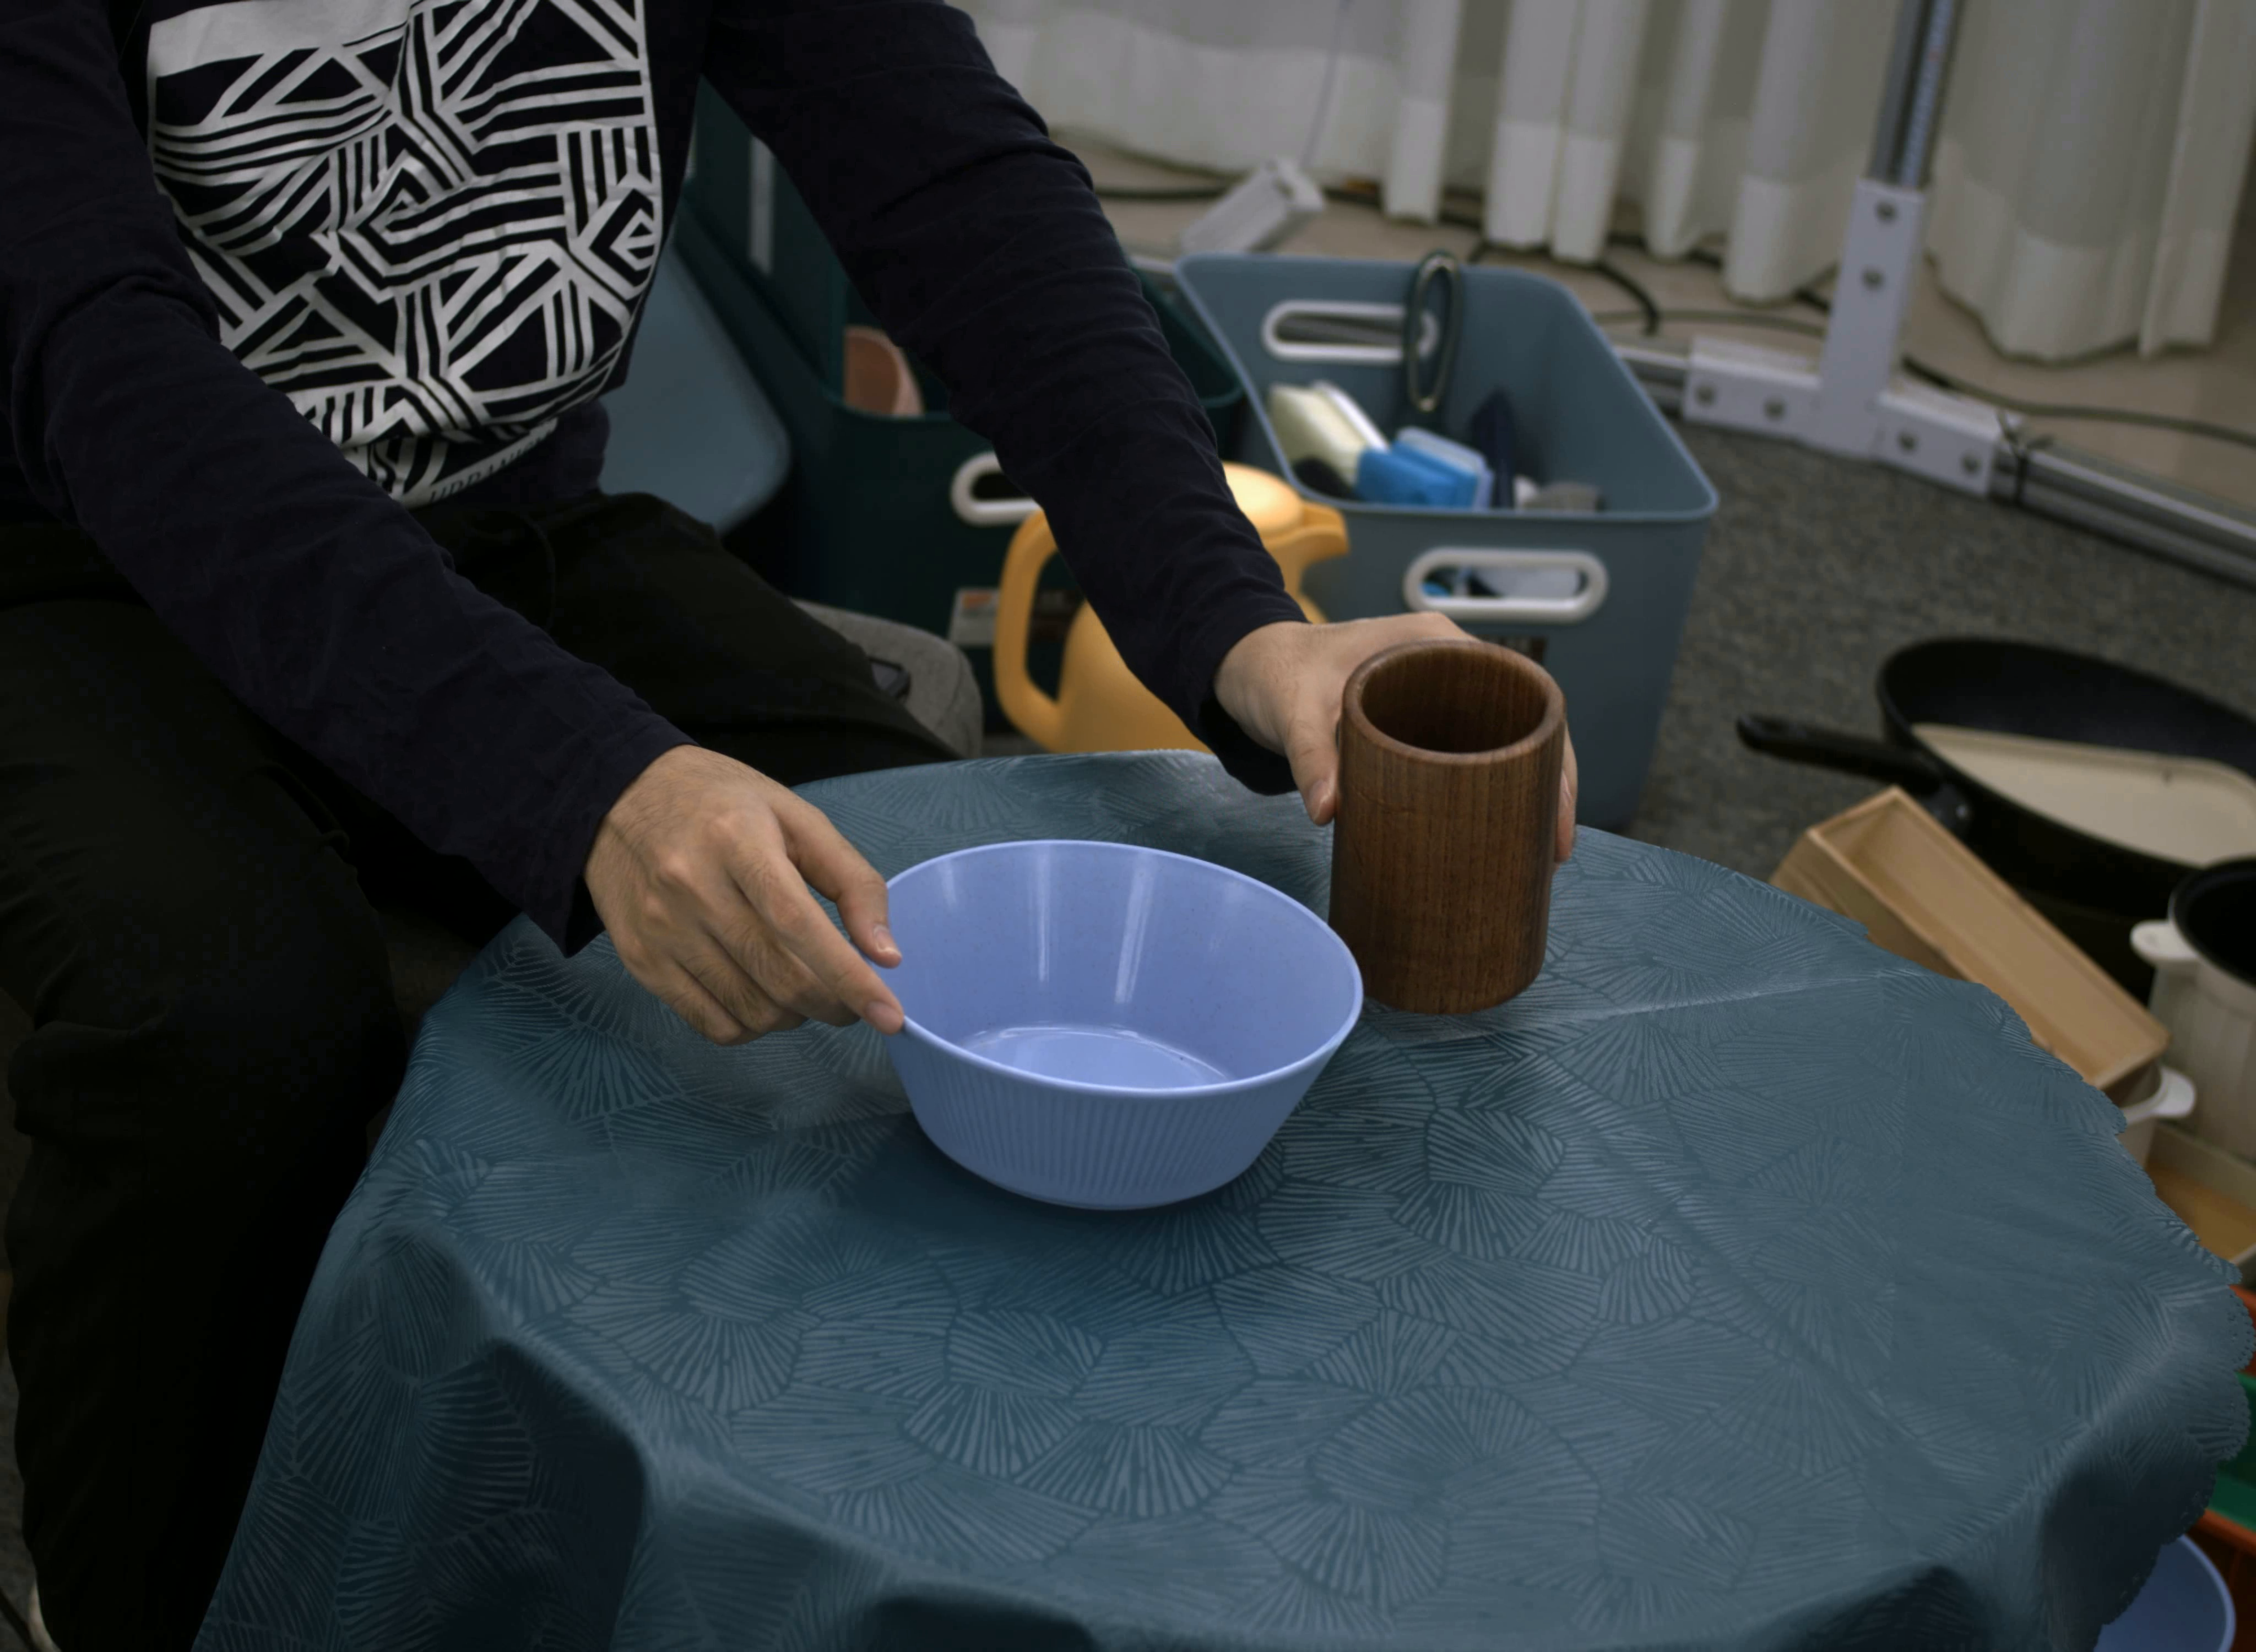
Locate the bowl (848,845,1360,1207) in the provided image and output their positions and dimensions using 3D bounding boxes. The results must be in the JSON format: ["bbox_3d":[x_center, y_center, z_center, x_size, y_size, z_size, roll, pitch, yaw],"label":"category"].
[{"bbox_3d":[-0.011,0.074,1.824,0.175,0.070,0.177,5,26,-3],"label":"bowl"}]

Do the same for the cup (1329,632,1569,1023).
[{"bbox_3d":[0.113,0.001,1.905,0.087,0.118,0.088,1,33,-1],"label":"cup"}]
